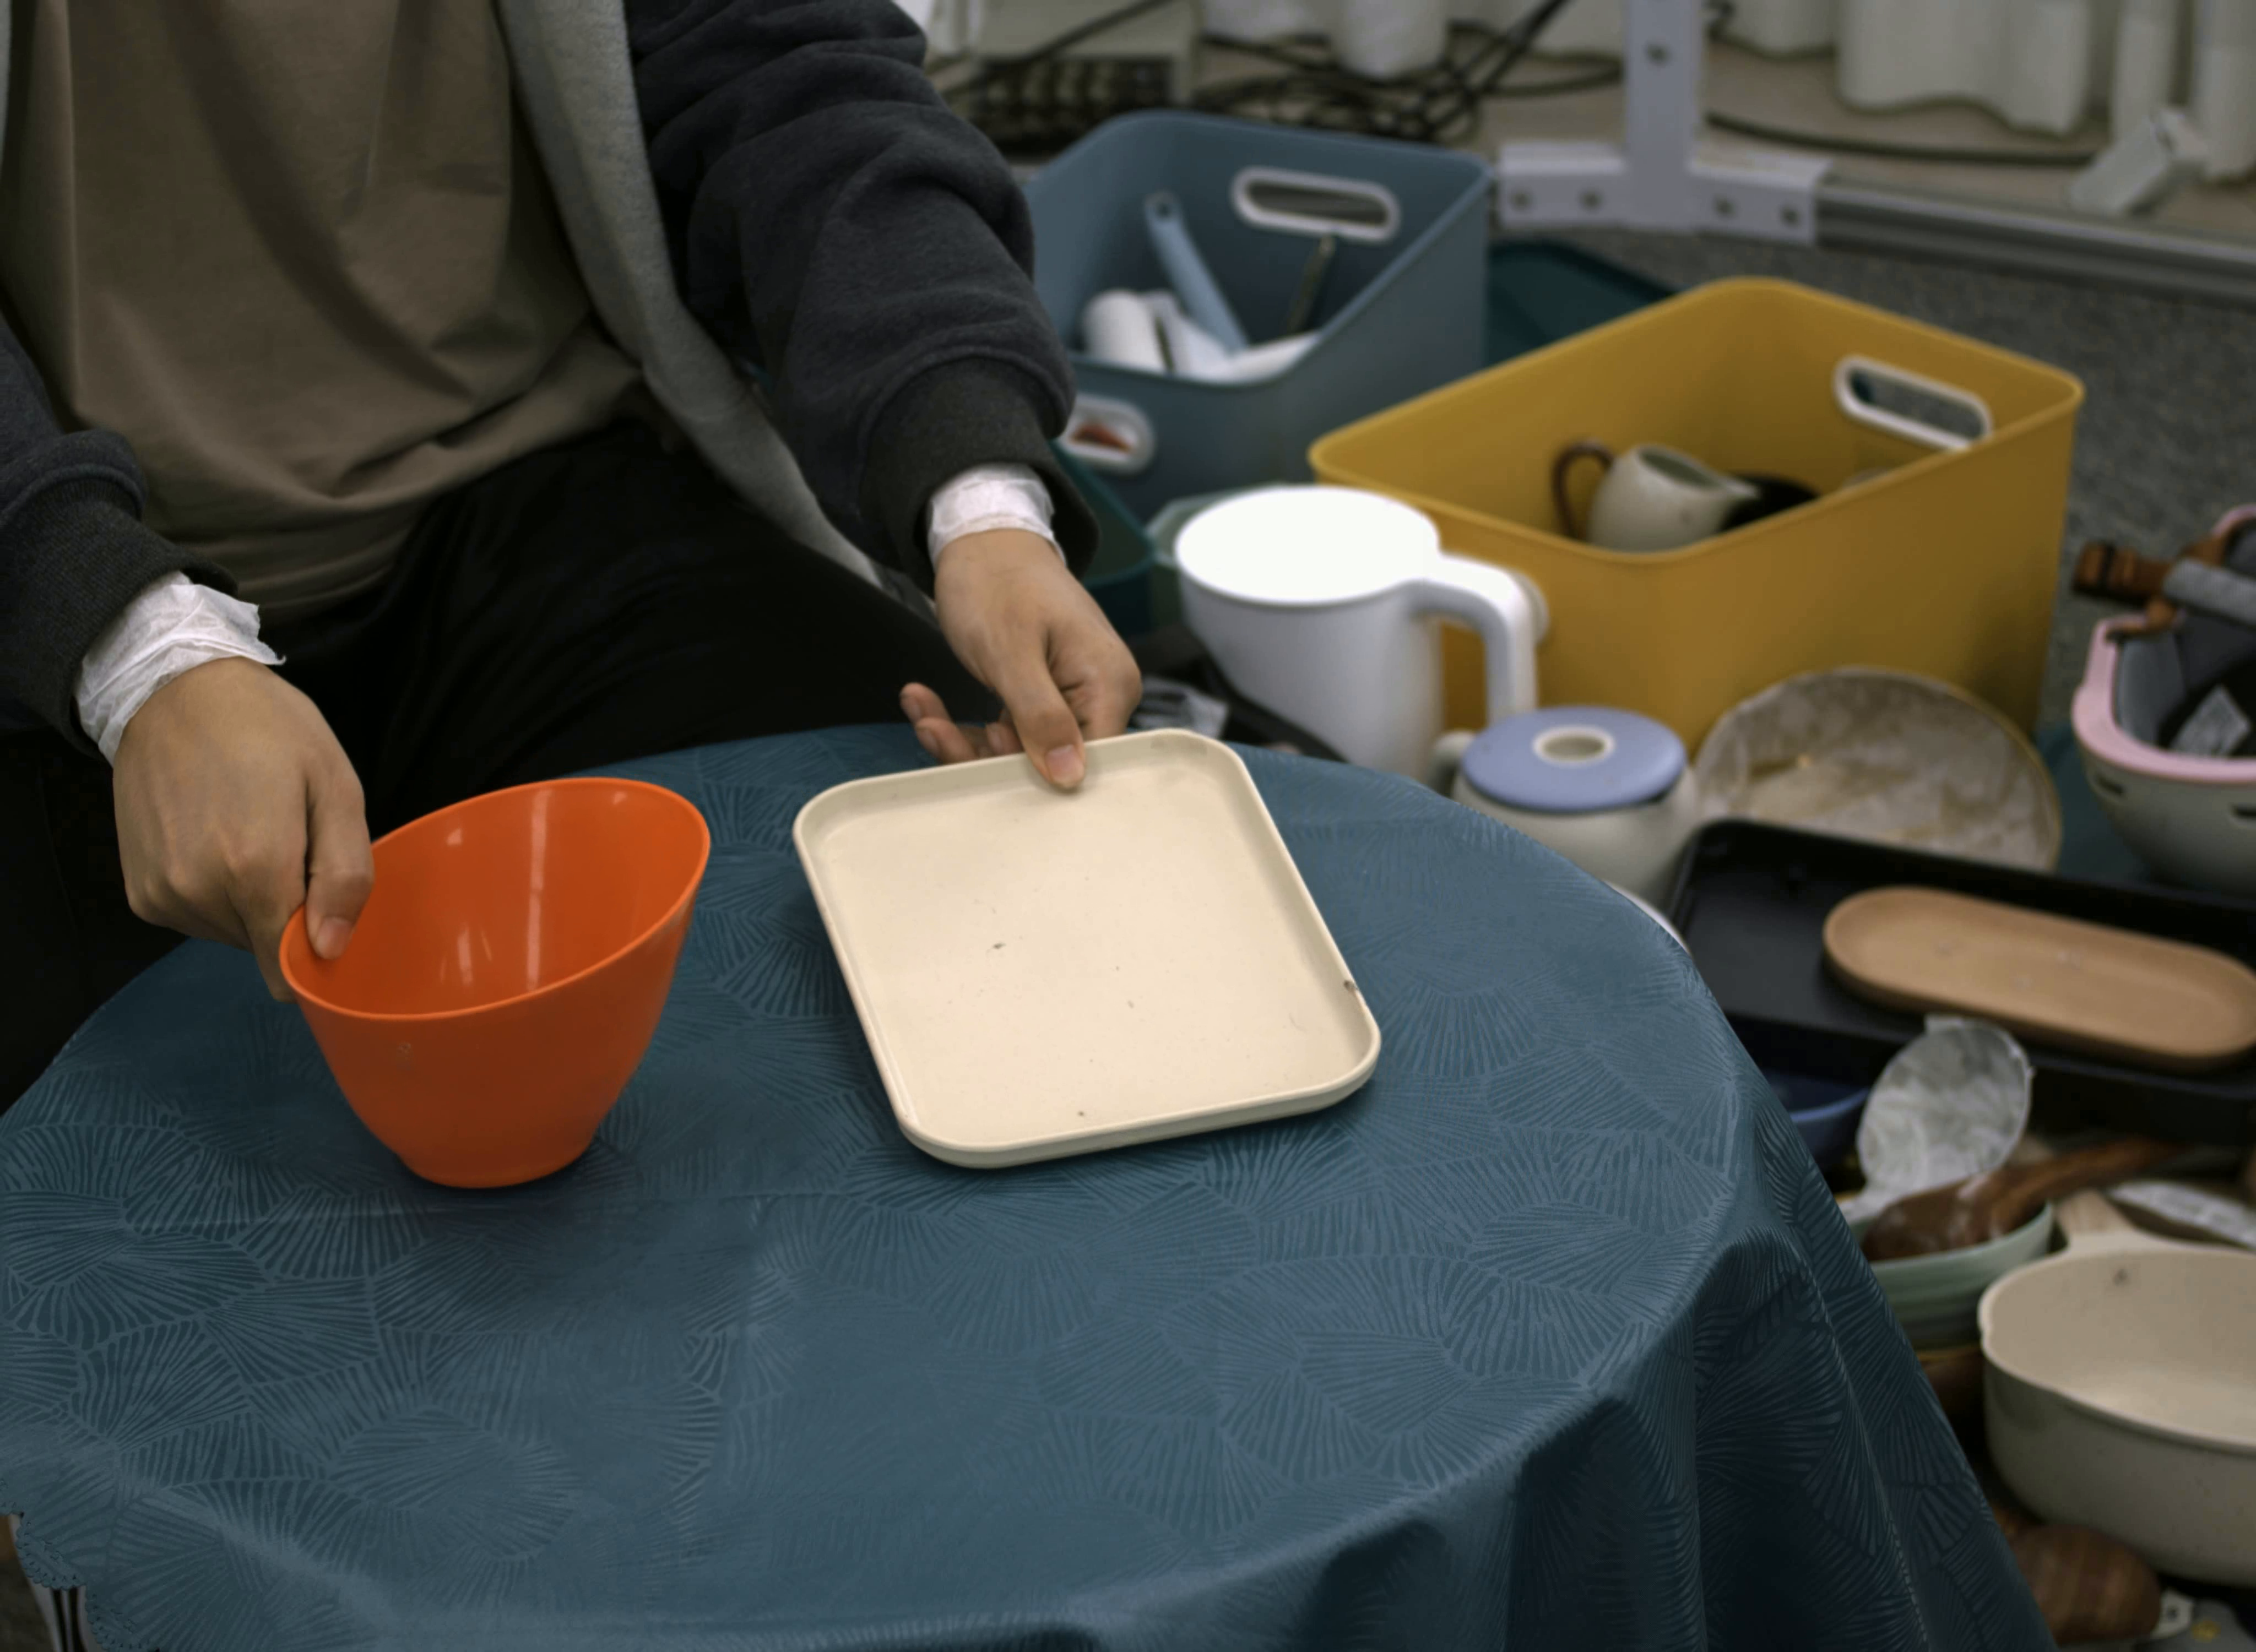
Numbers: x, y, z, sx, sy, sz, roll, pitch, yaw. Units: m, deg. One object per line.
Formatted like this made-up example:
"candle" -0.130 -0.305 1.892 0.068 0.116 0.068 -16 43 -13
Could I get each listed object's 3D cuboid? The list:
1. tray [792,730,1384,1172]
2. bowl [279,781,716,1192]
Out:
"tray" -0.017 0.042 1.978 0.171 0.017 0.243 -10 33 -11
"bowl" -0.207 0.060 1.886 0.147 0.103 0.150 -2 27 2
